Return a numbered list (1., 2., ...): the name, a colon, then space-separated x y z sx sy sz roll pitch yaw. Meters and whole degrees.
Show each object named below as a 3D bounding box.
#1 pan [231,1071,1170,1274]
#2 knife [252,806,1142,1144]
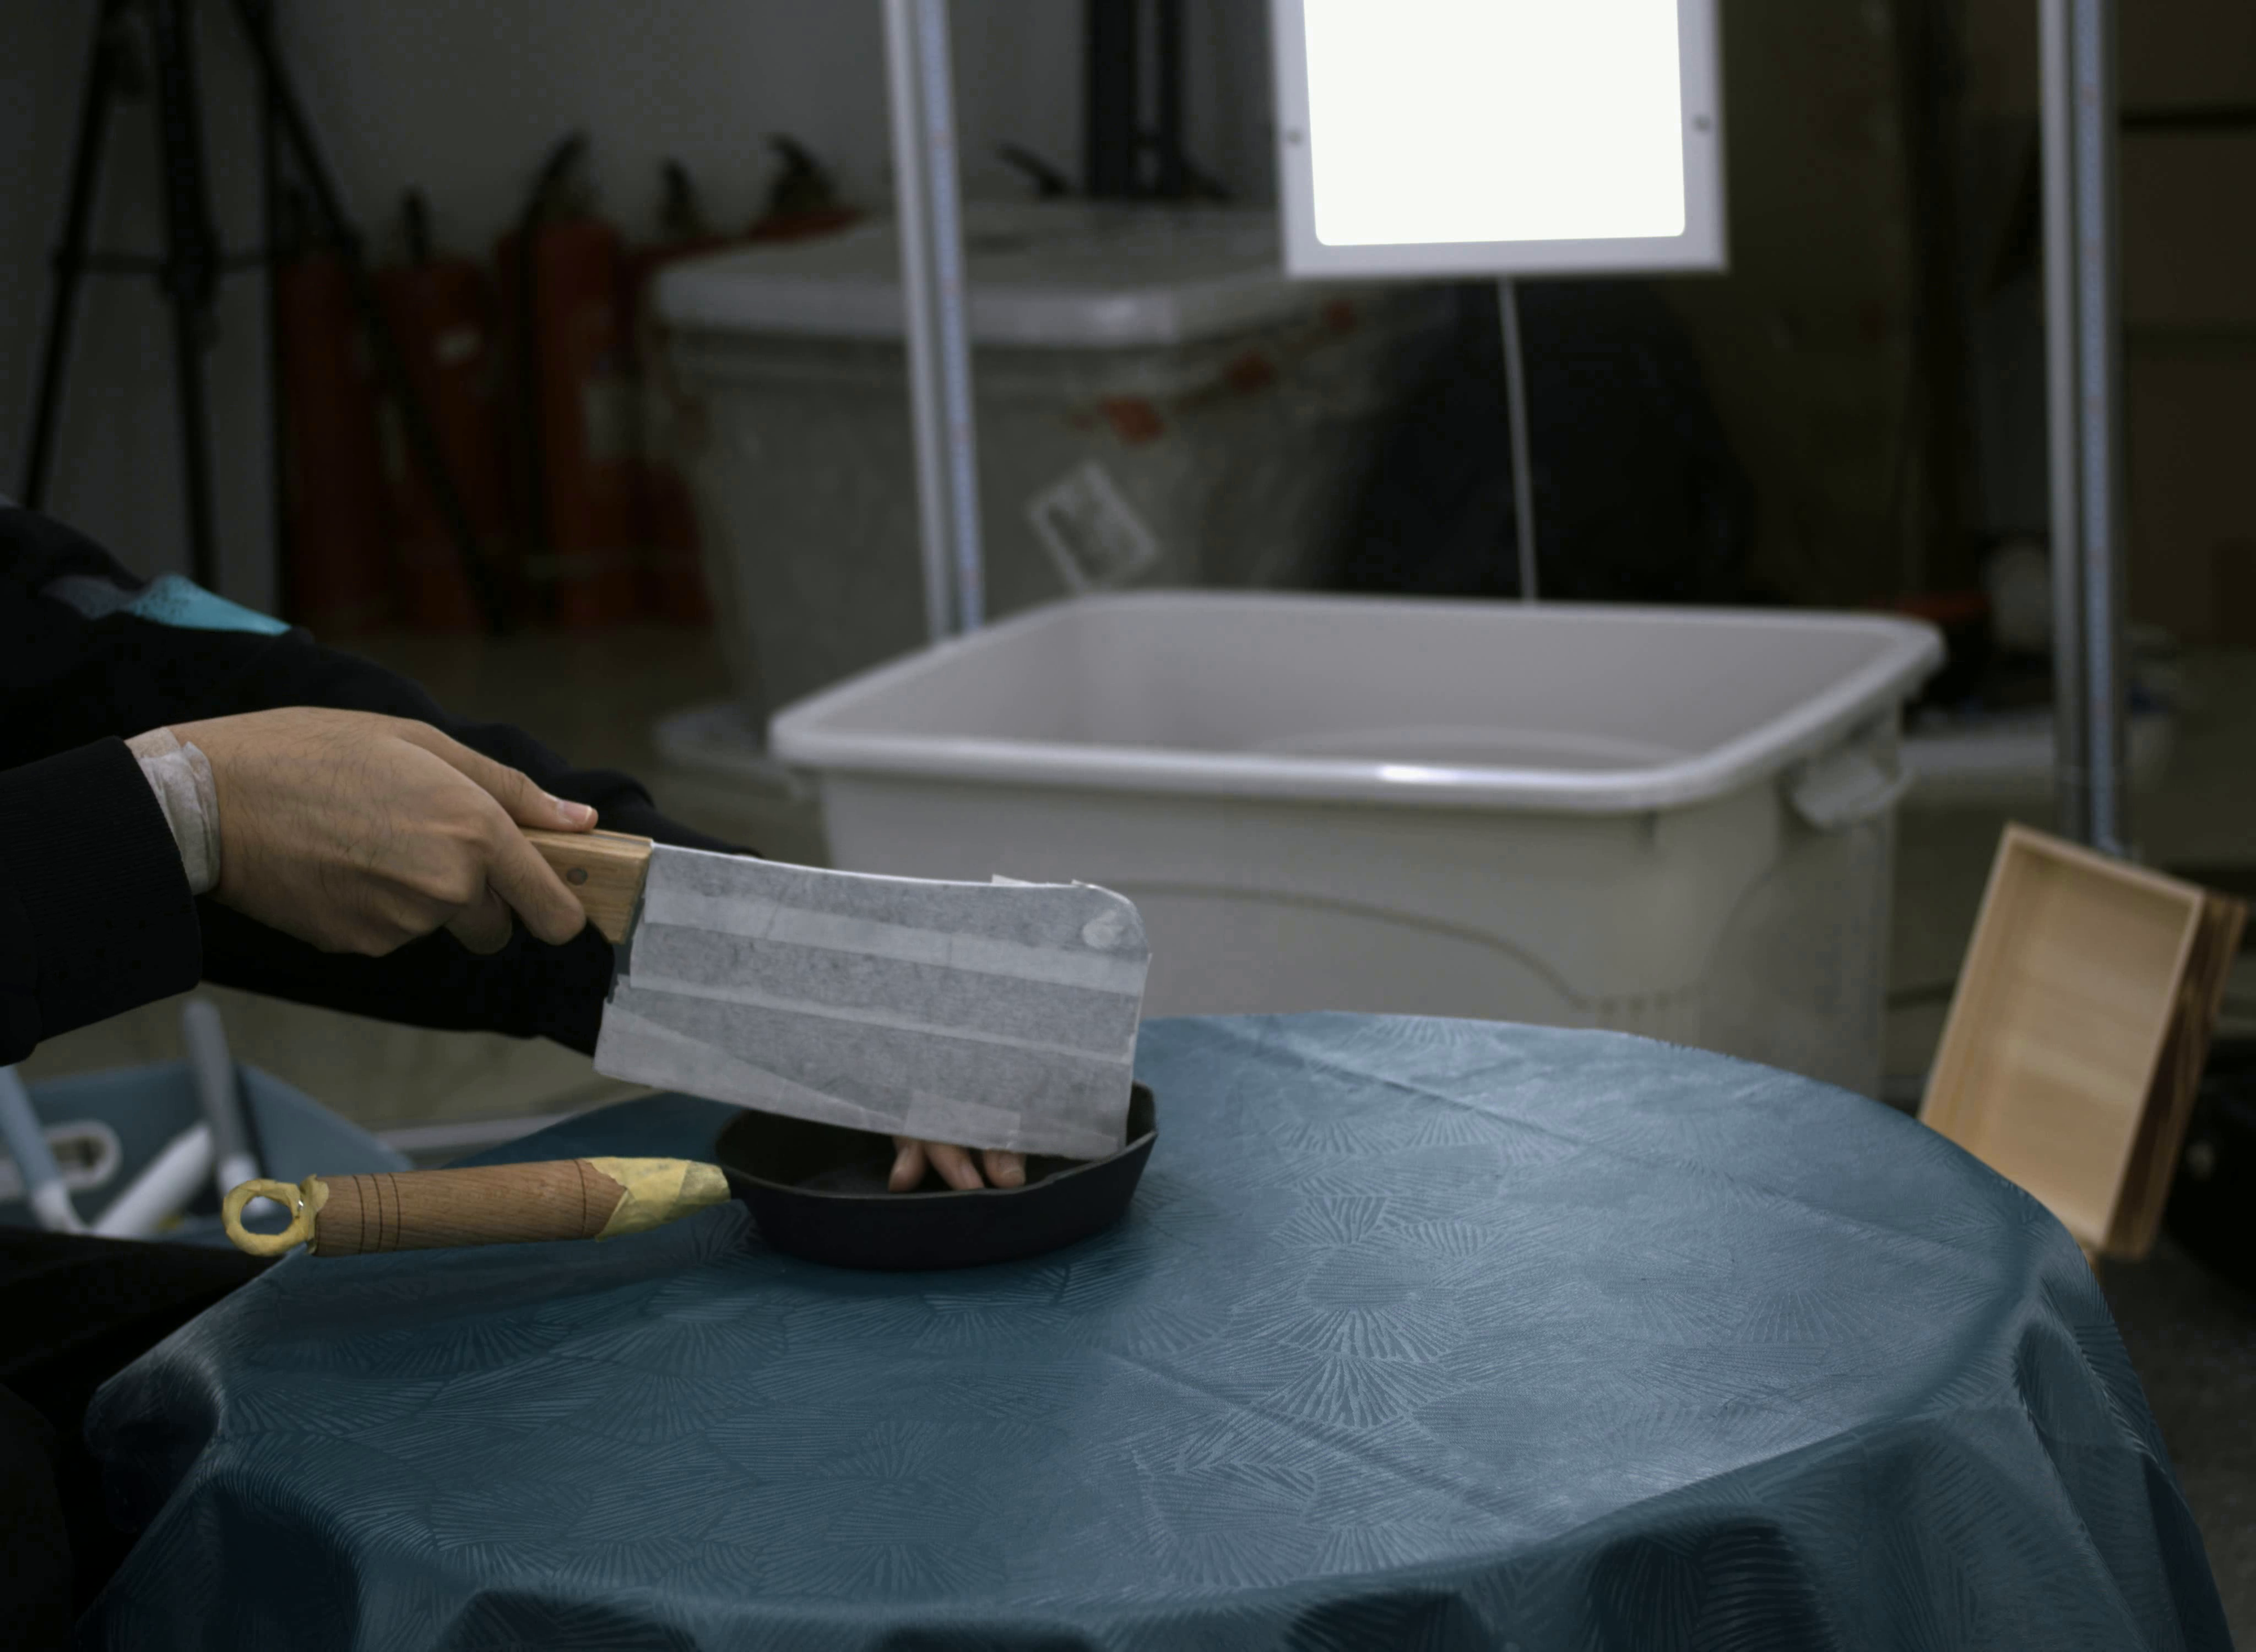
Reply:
1. pan: -0.142 0.122 1.861 0.319 0.050 0.171 -8 14 -17
2. knife: -0.143 0.040 1.875 0.313 0.115 0.021 13 18 -4
